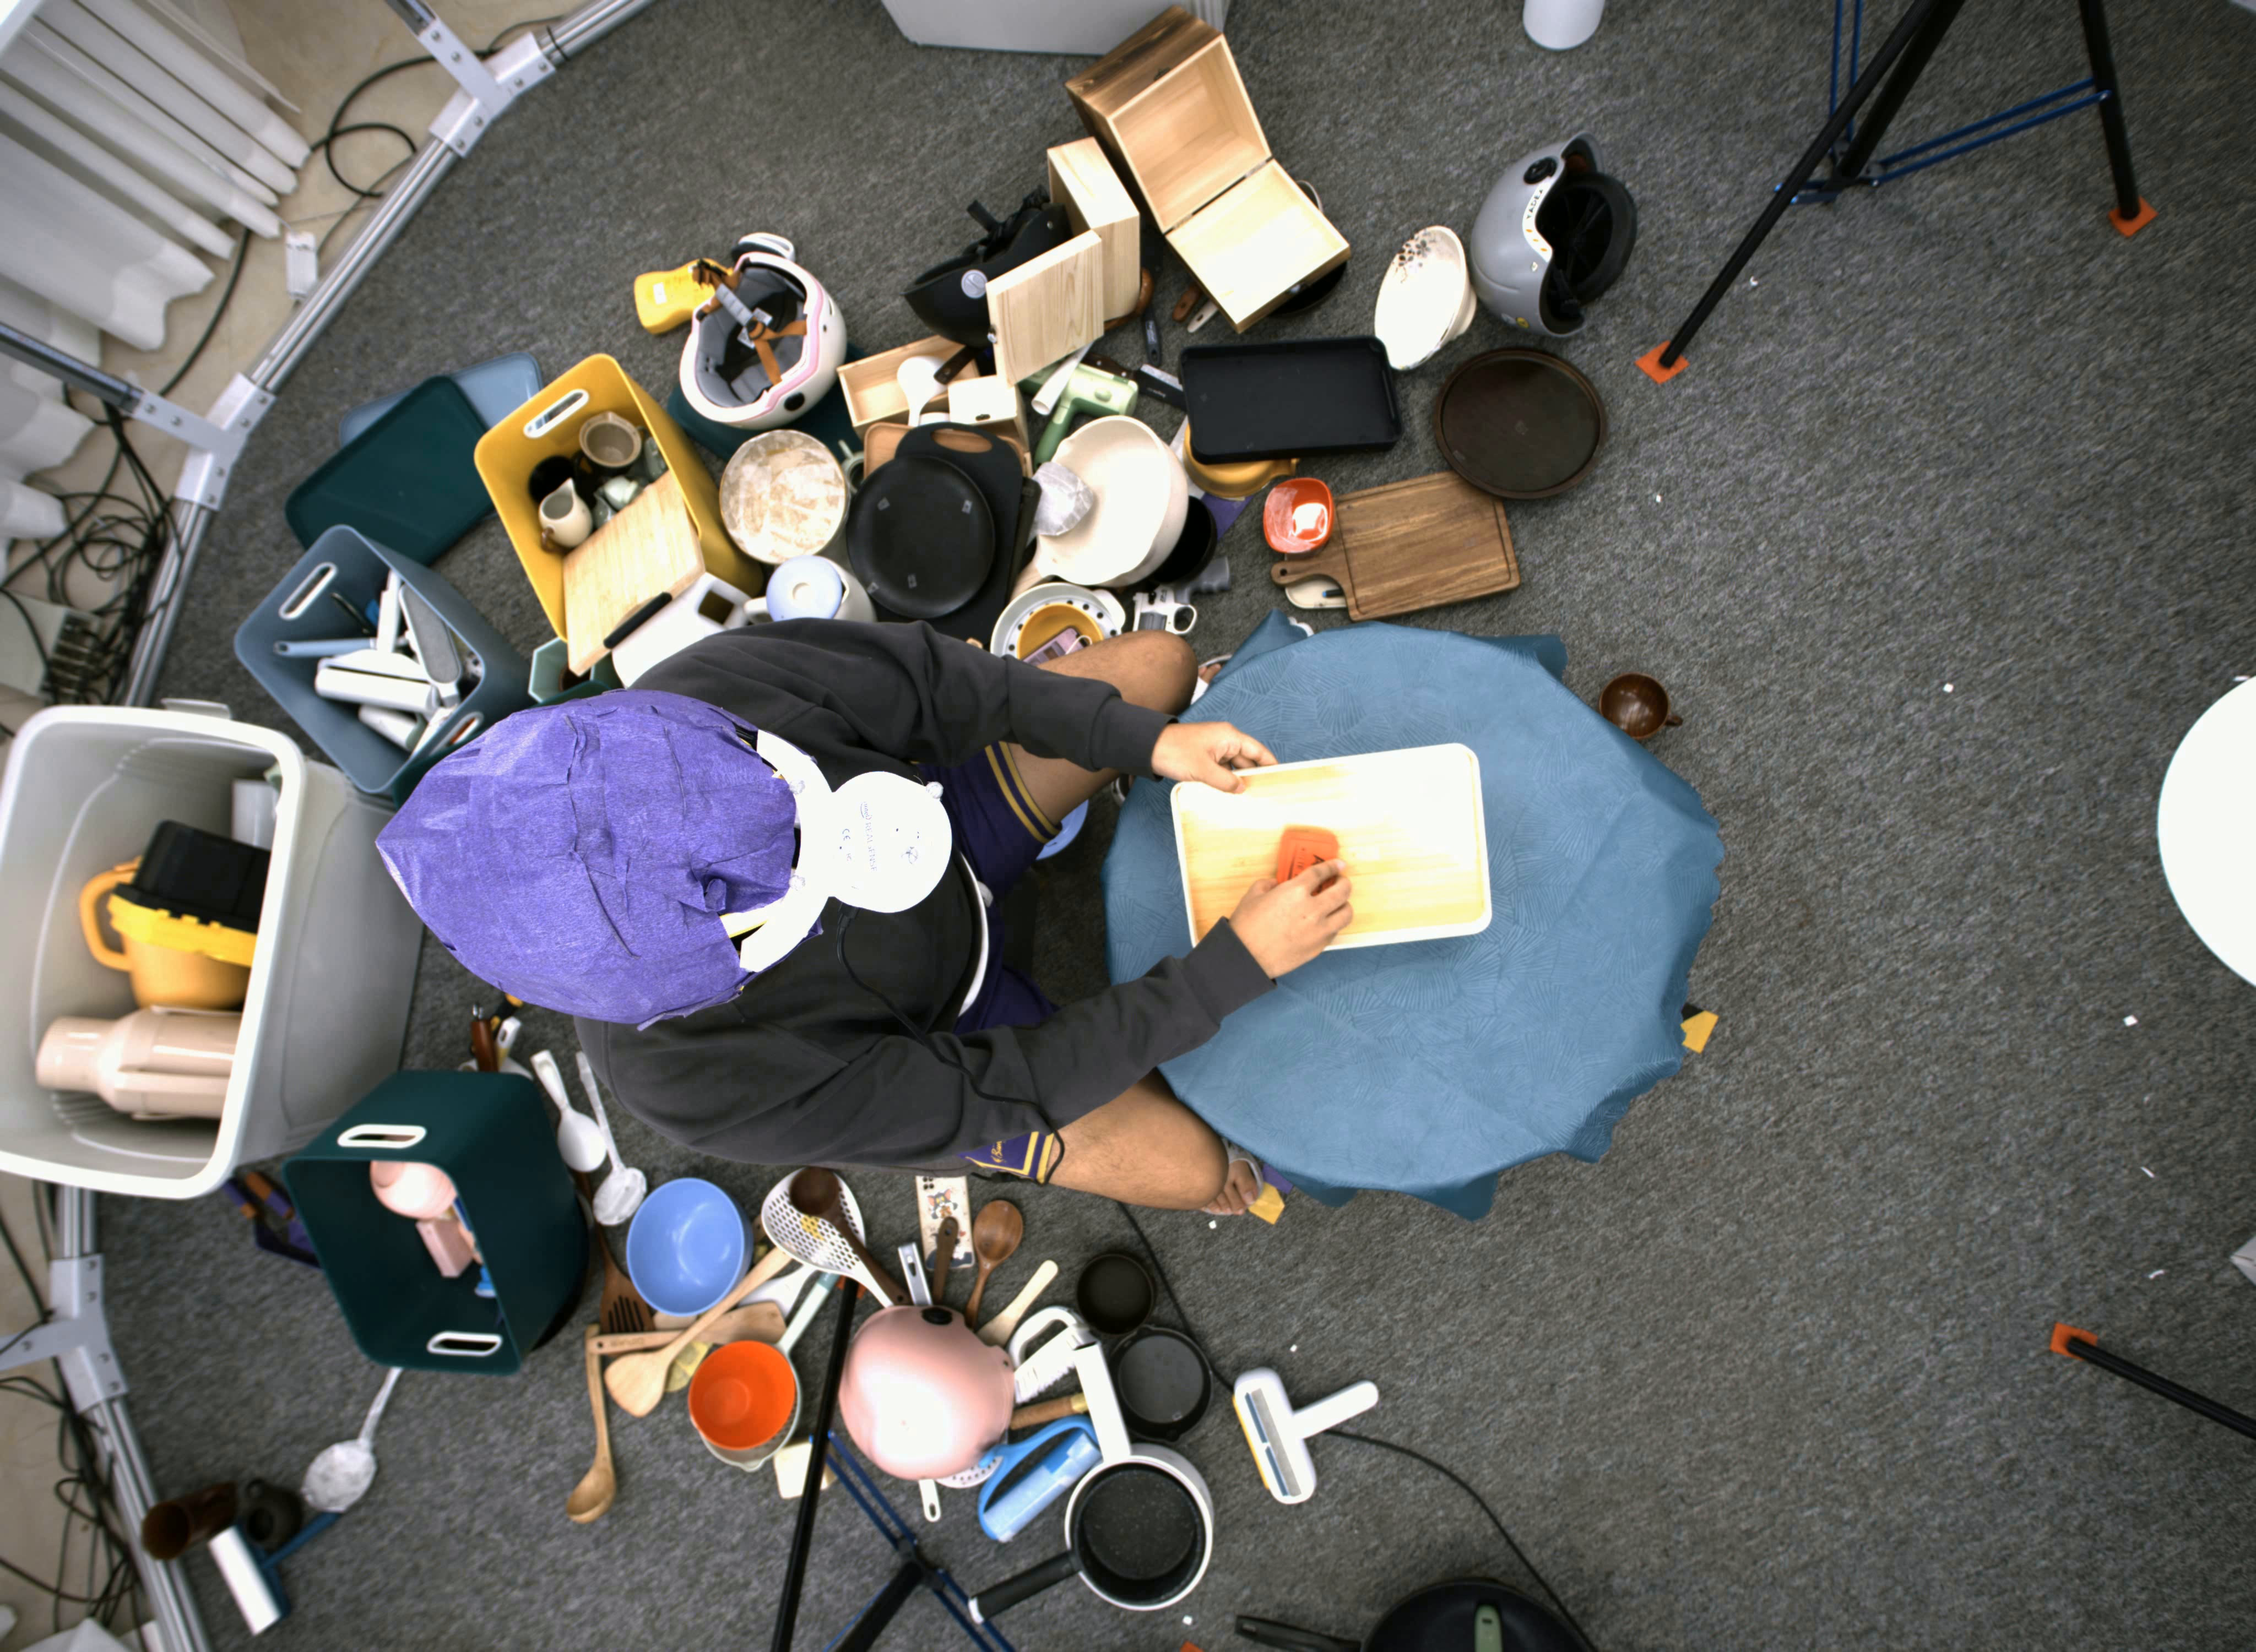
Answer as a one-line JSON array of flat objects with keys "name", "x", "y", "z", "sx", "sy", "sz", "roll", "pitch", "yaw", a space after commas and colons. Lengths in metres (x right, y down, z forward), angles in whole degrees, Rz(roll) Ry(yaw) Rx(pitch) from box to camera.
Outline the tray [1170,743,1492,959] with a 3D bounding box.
[{"name": "tray", "x": 0.201, "y": 0.025, "z": 1.367, "sx": 0.301, "sy": 0.027, "sz": 0.194, "roll": -6, "pitch": 106, "yaw": 9}]

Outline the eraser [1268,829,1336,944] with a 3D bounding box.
[{"name": "eraser", "x": 0.171, "y": 0.059, "z": 1.363, "sx": 0.059, "sy": 0.022, "sz": 0.108, "roll": 7, "pitch": 98, "yaw": 14}]
